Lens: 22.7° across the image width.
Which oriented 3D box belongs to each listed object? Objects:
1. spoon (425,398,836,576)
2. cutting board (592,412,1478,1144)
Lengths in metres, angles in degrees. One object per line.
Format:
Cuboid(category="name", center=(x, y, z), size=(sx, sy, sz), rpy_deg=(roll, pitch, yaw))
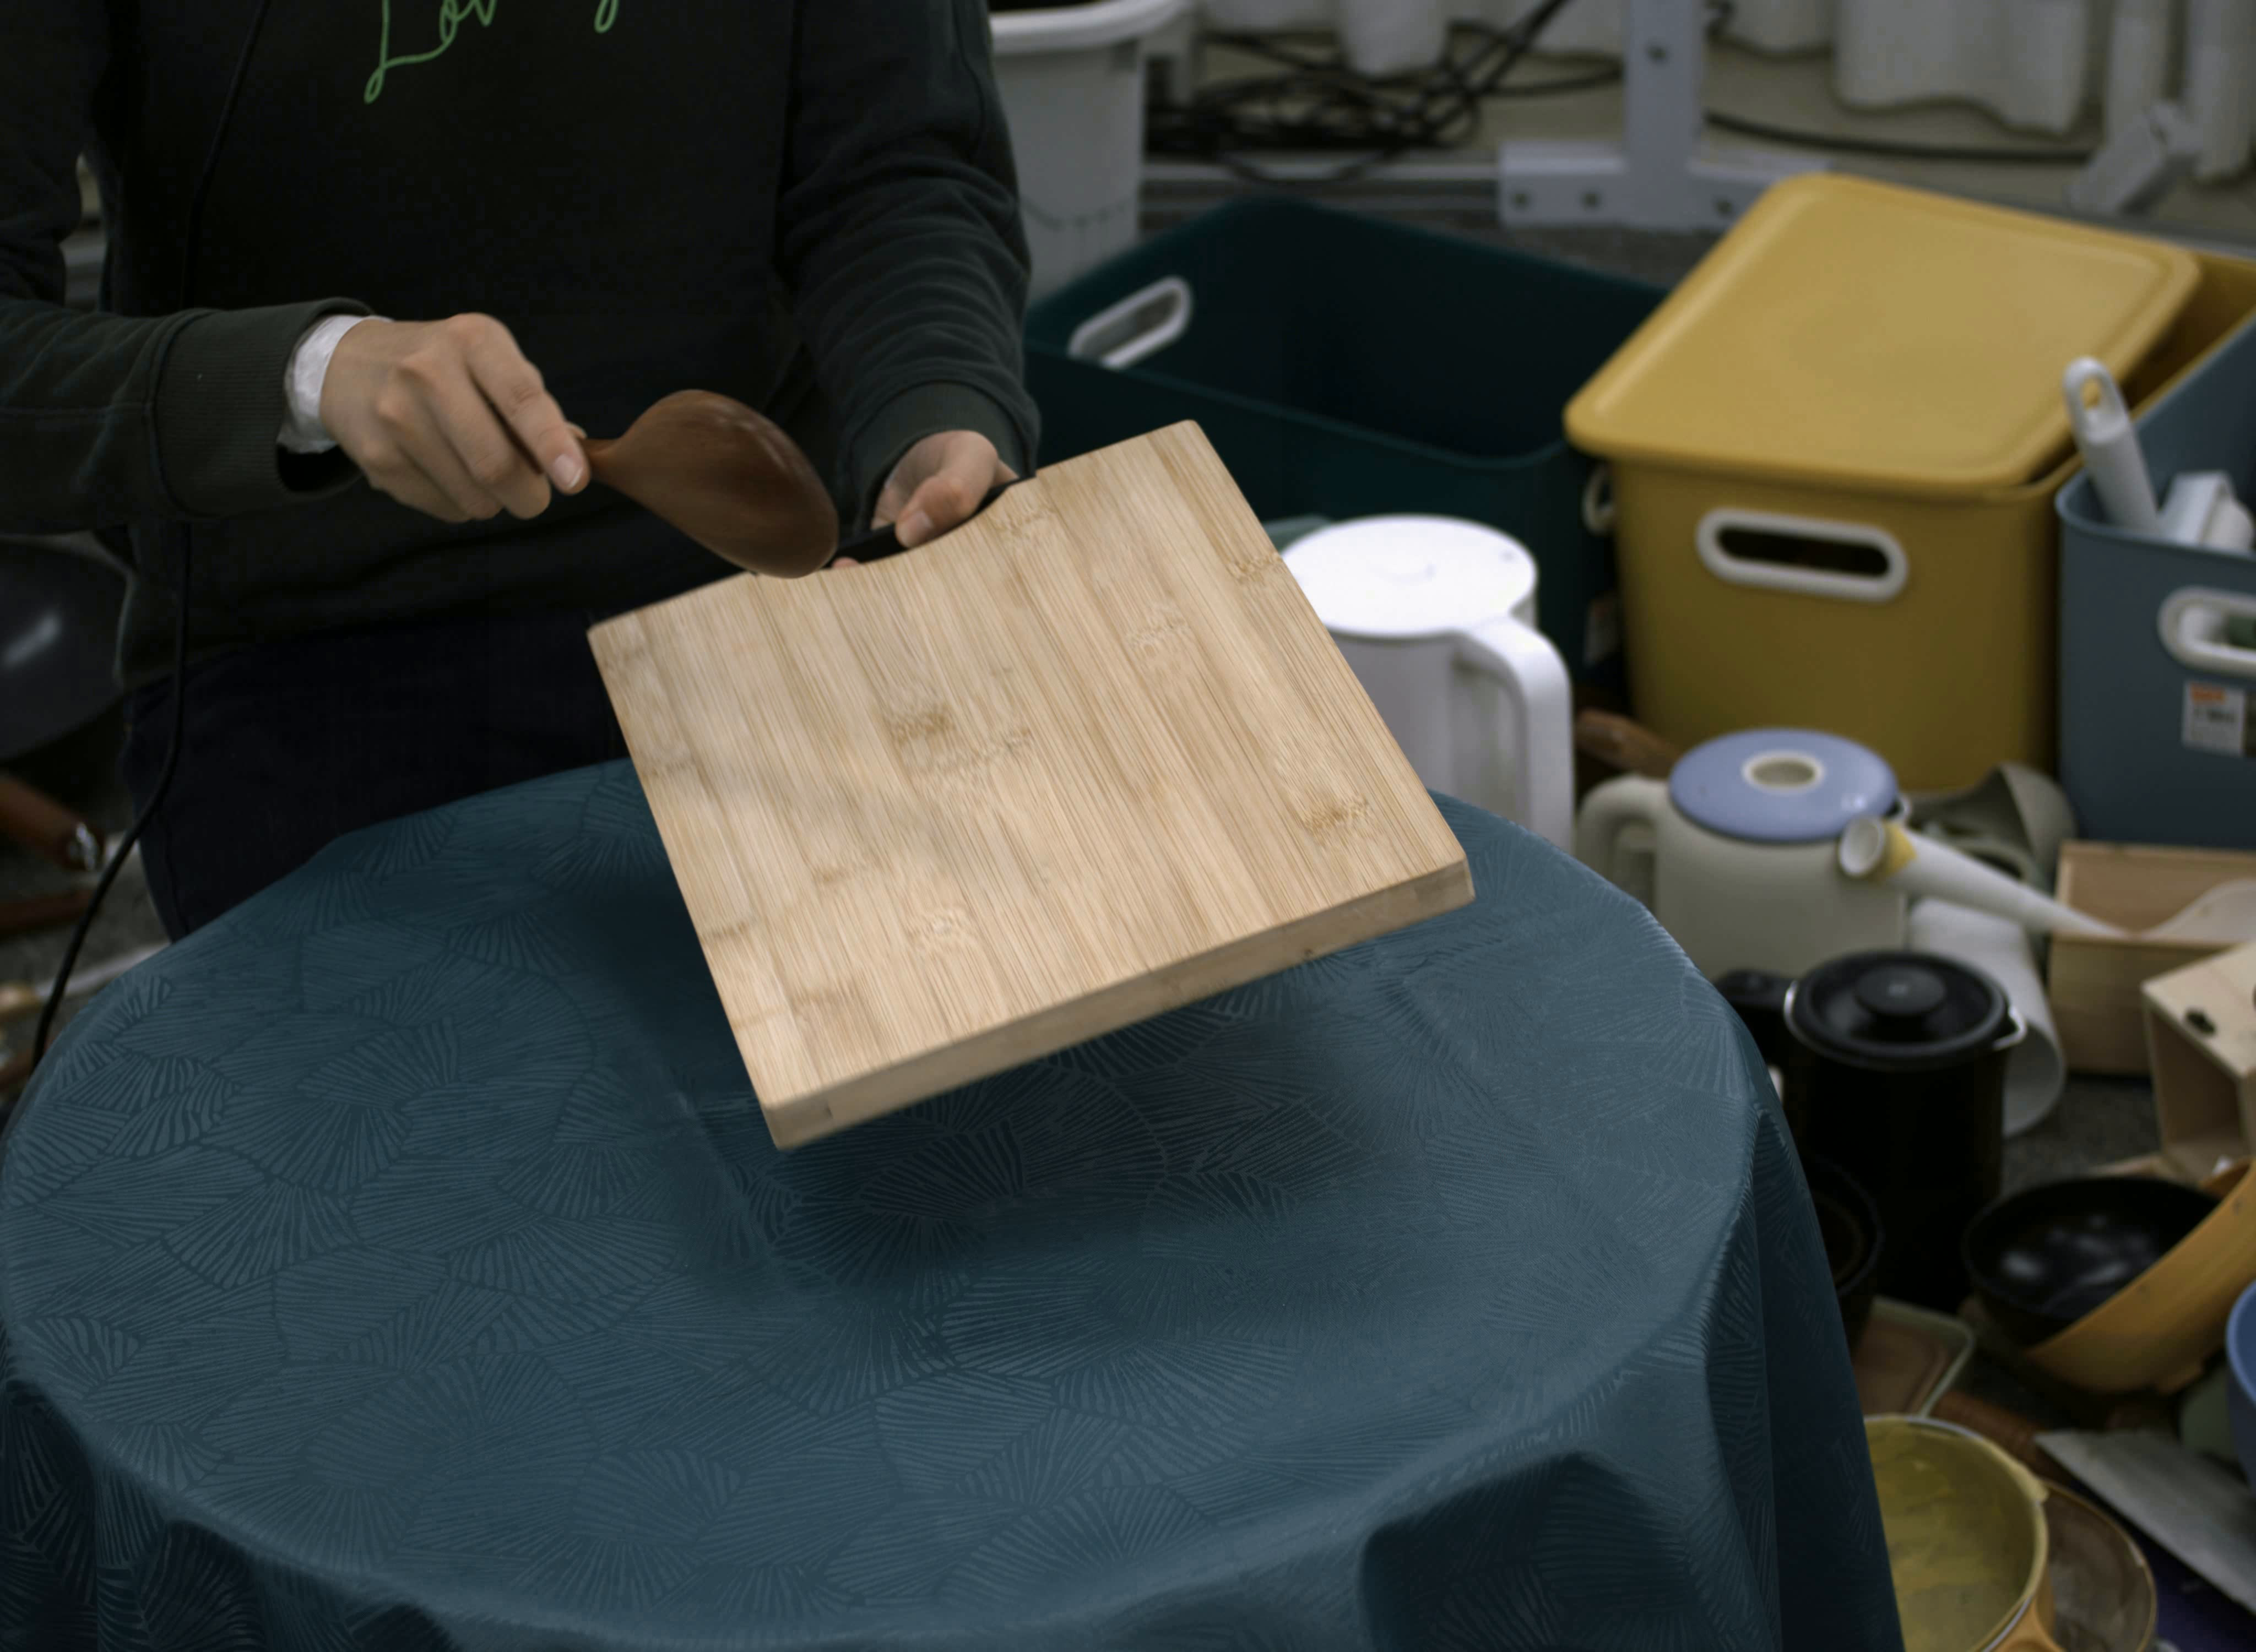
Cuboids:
Cuboid(category="spoon", center=(-0.175, -0.121, 1.926), size=(0.215, 0.075, 0.017), rpy_deg=(14, 52, 48))
Cuboid(category="cutting board", center=(-0.042, -0.024, 1.939), size=(0.250, 0.023, 0.352), rpy_deg=(-20, 32, -6))
